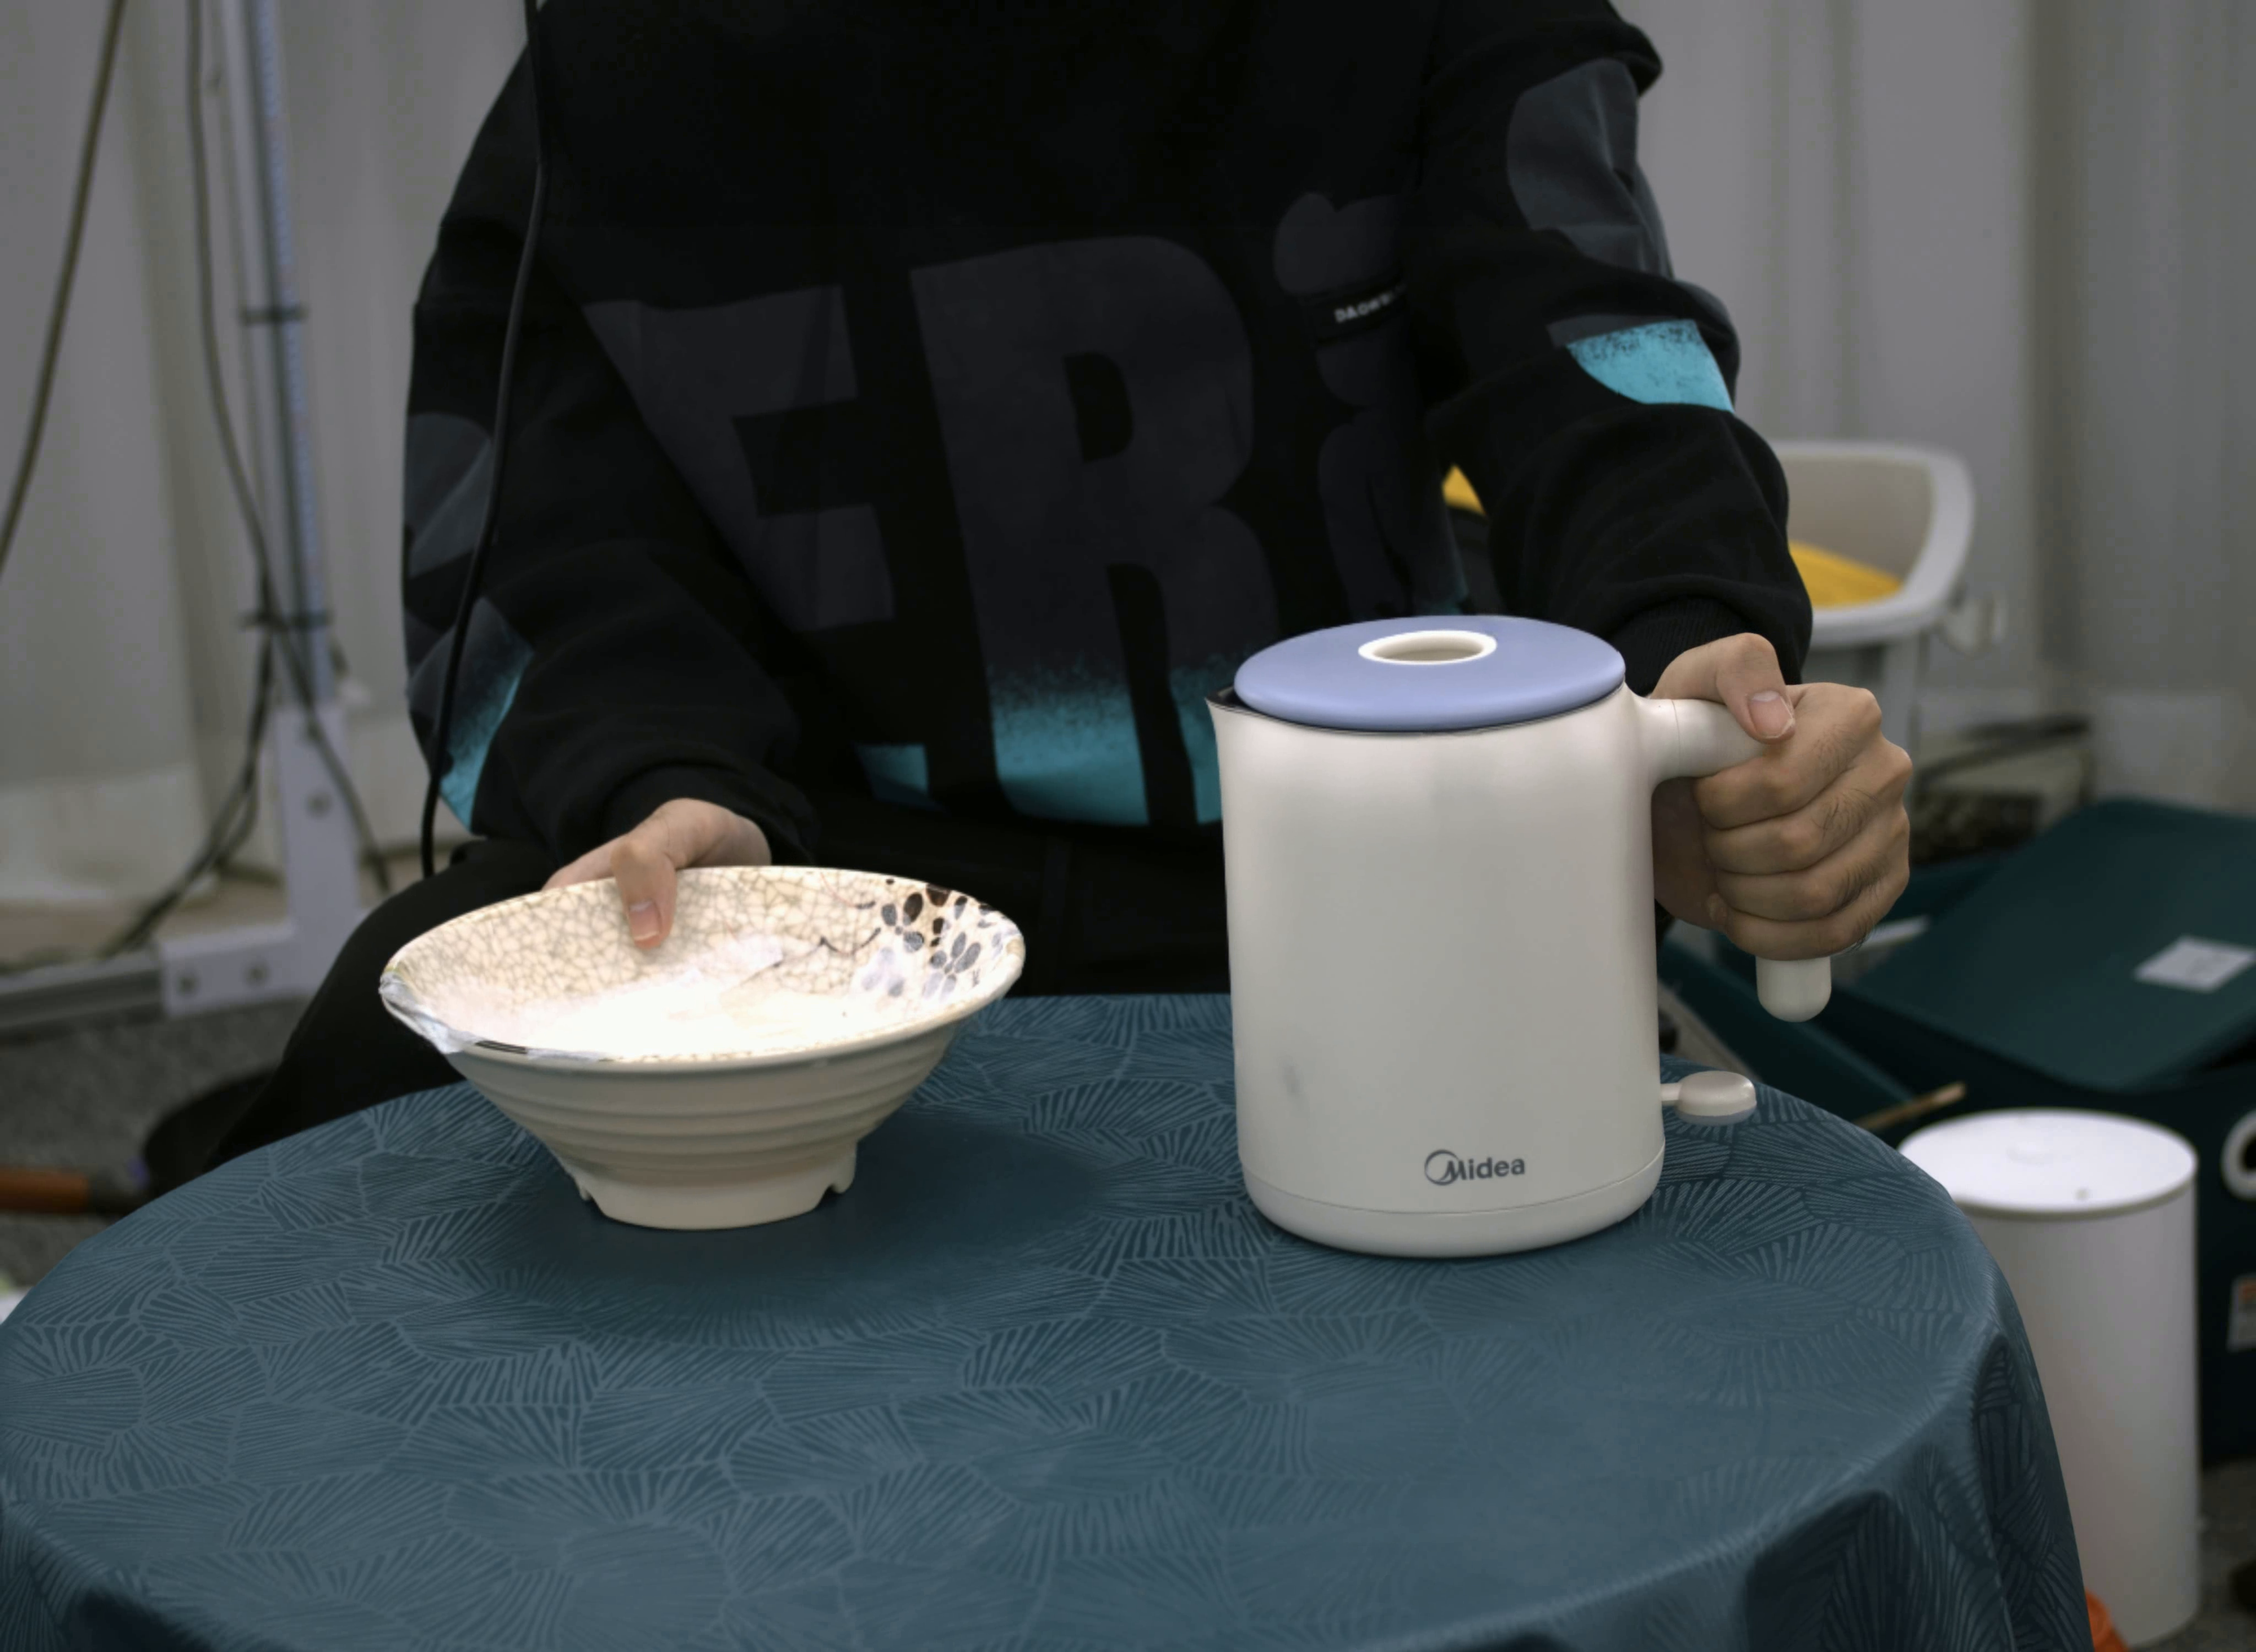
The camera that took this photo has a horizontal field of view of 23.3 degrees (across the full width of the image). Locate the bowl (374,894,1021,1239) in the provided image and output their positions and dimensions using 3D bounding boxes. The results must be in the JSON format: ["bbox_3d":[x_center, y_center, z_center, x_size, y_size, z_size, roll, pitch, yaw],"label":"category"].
[{"bbox_3d":[-0.135,0.081,1.726,0.203,0.078,0.205,0,12,0],"label":"bowl"}]

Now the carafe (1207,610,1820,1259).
[{"bbox_3d":[0.119,0.031,1.675,0.190,0.182,0.133,-2,15,-5],"label":"carafe"}]
